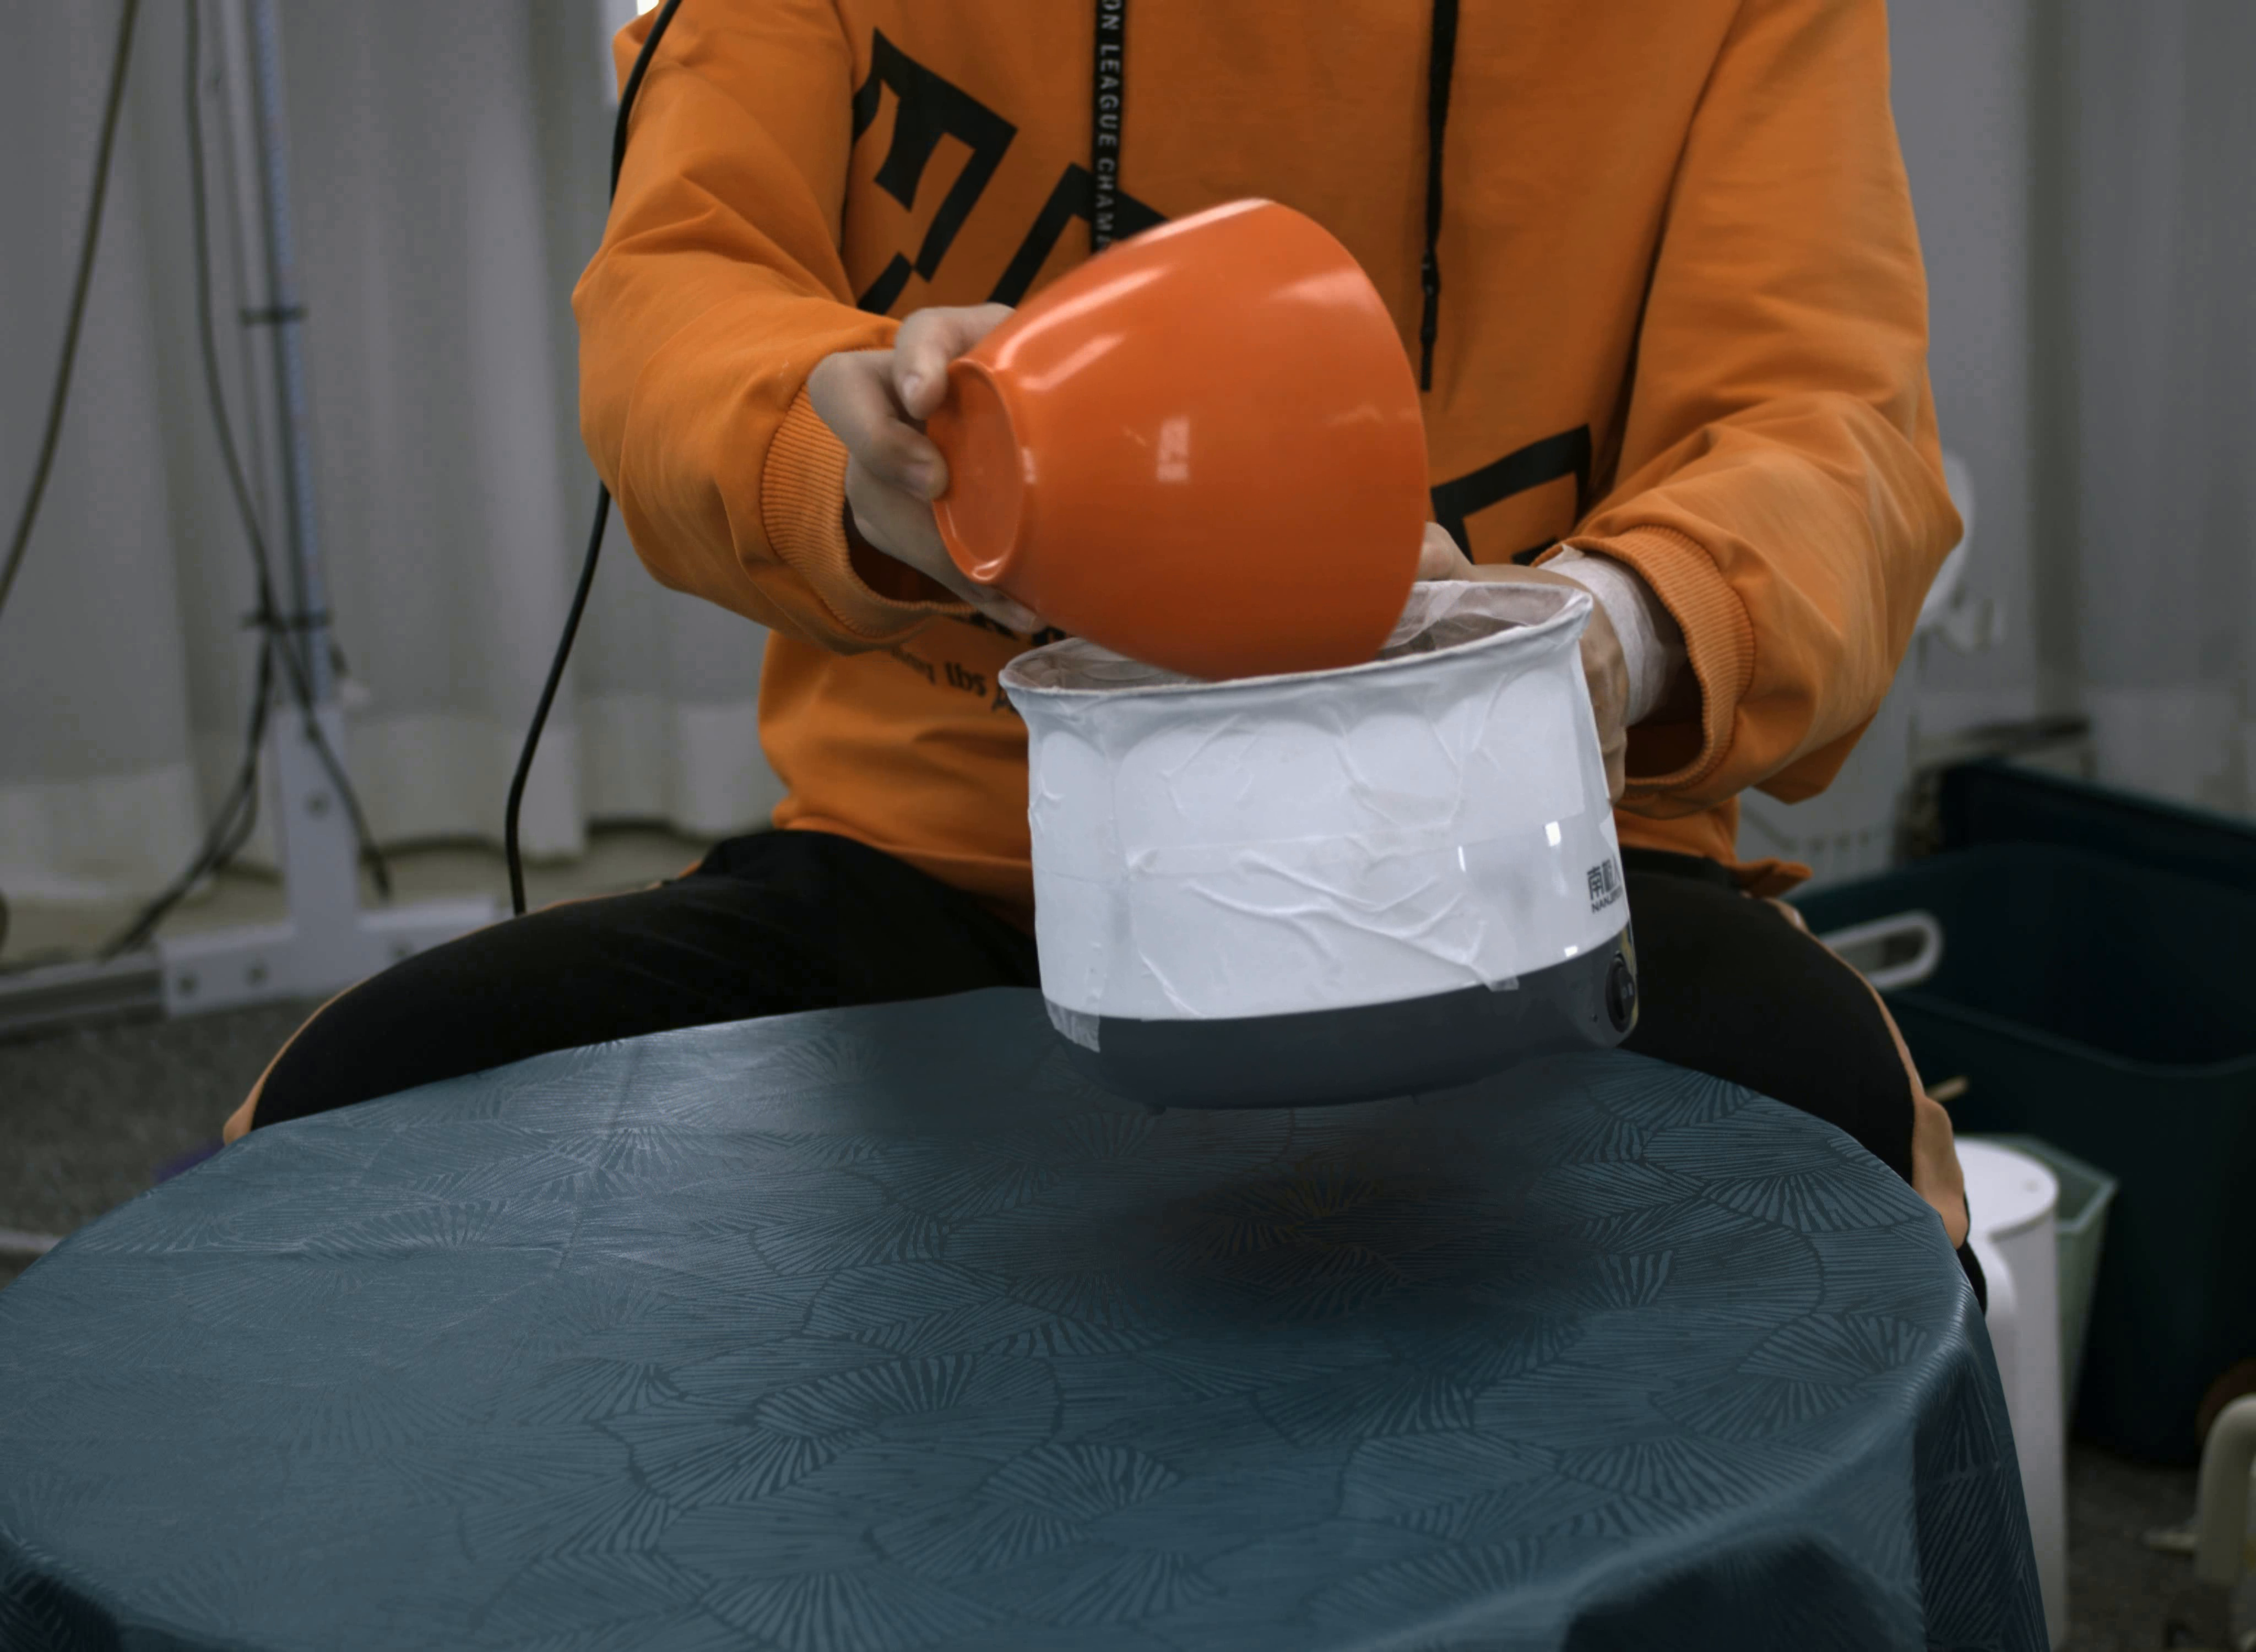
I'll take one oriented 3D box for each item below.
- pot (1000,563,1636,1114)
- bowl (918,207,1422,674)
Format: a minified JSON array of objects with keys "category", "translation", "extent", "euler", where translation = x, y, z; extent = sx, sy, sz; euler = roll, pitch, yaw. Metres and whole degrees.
[{"category":"pot","translation":[0.067,0.000,1.651],"extent":[0.178,0.136,0.234],"euler":[-4,10,22]},{"category":"bowl","translation":[0.003,-0.105,1.601],"extent":[0.104,0.147,0.149],"euler":[-6,14,-27]}]
